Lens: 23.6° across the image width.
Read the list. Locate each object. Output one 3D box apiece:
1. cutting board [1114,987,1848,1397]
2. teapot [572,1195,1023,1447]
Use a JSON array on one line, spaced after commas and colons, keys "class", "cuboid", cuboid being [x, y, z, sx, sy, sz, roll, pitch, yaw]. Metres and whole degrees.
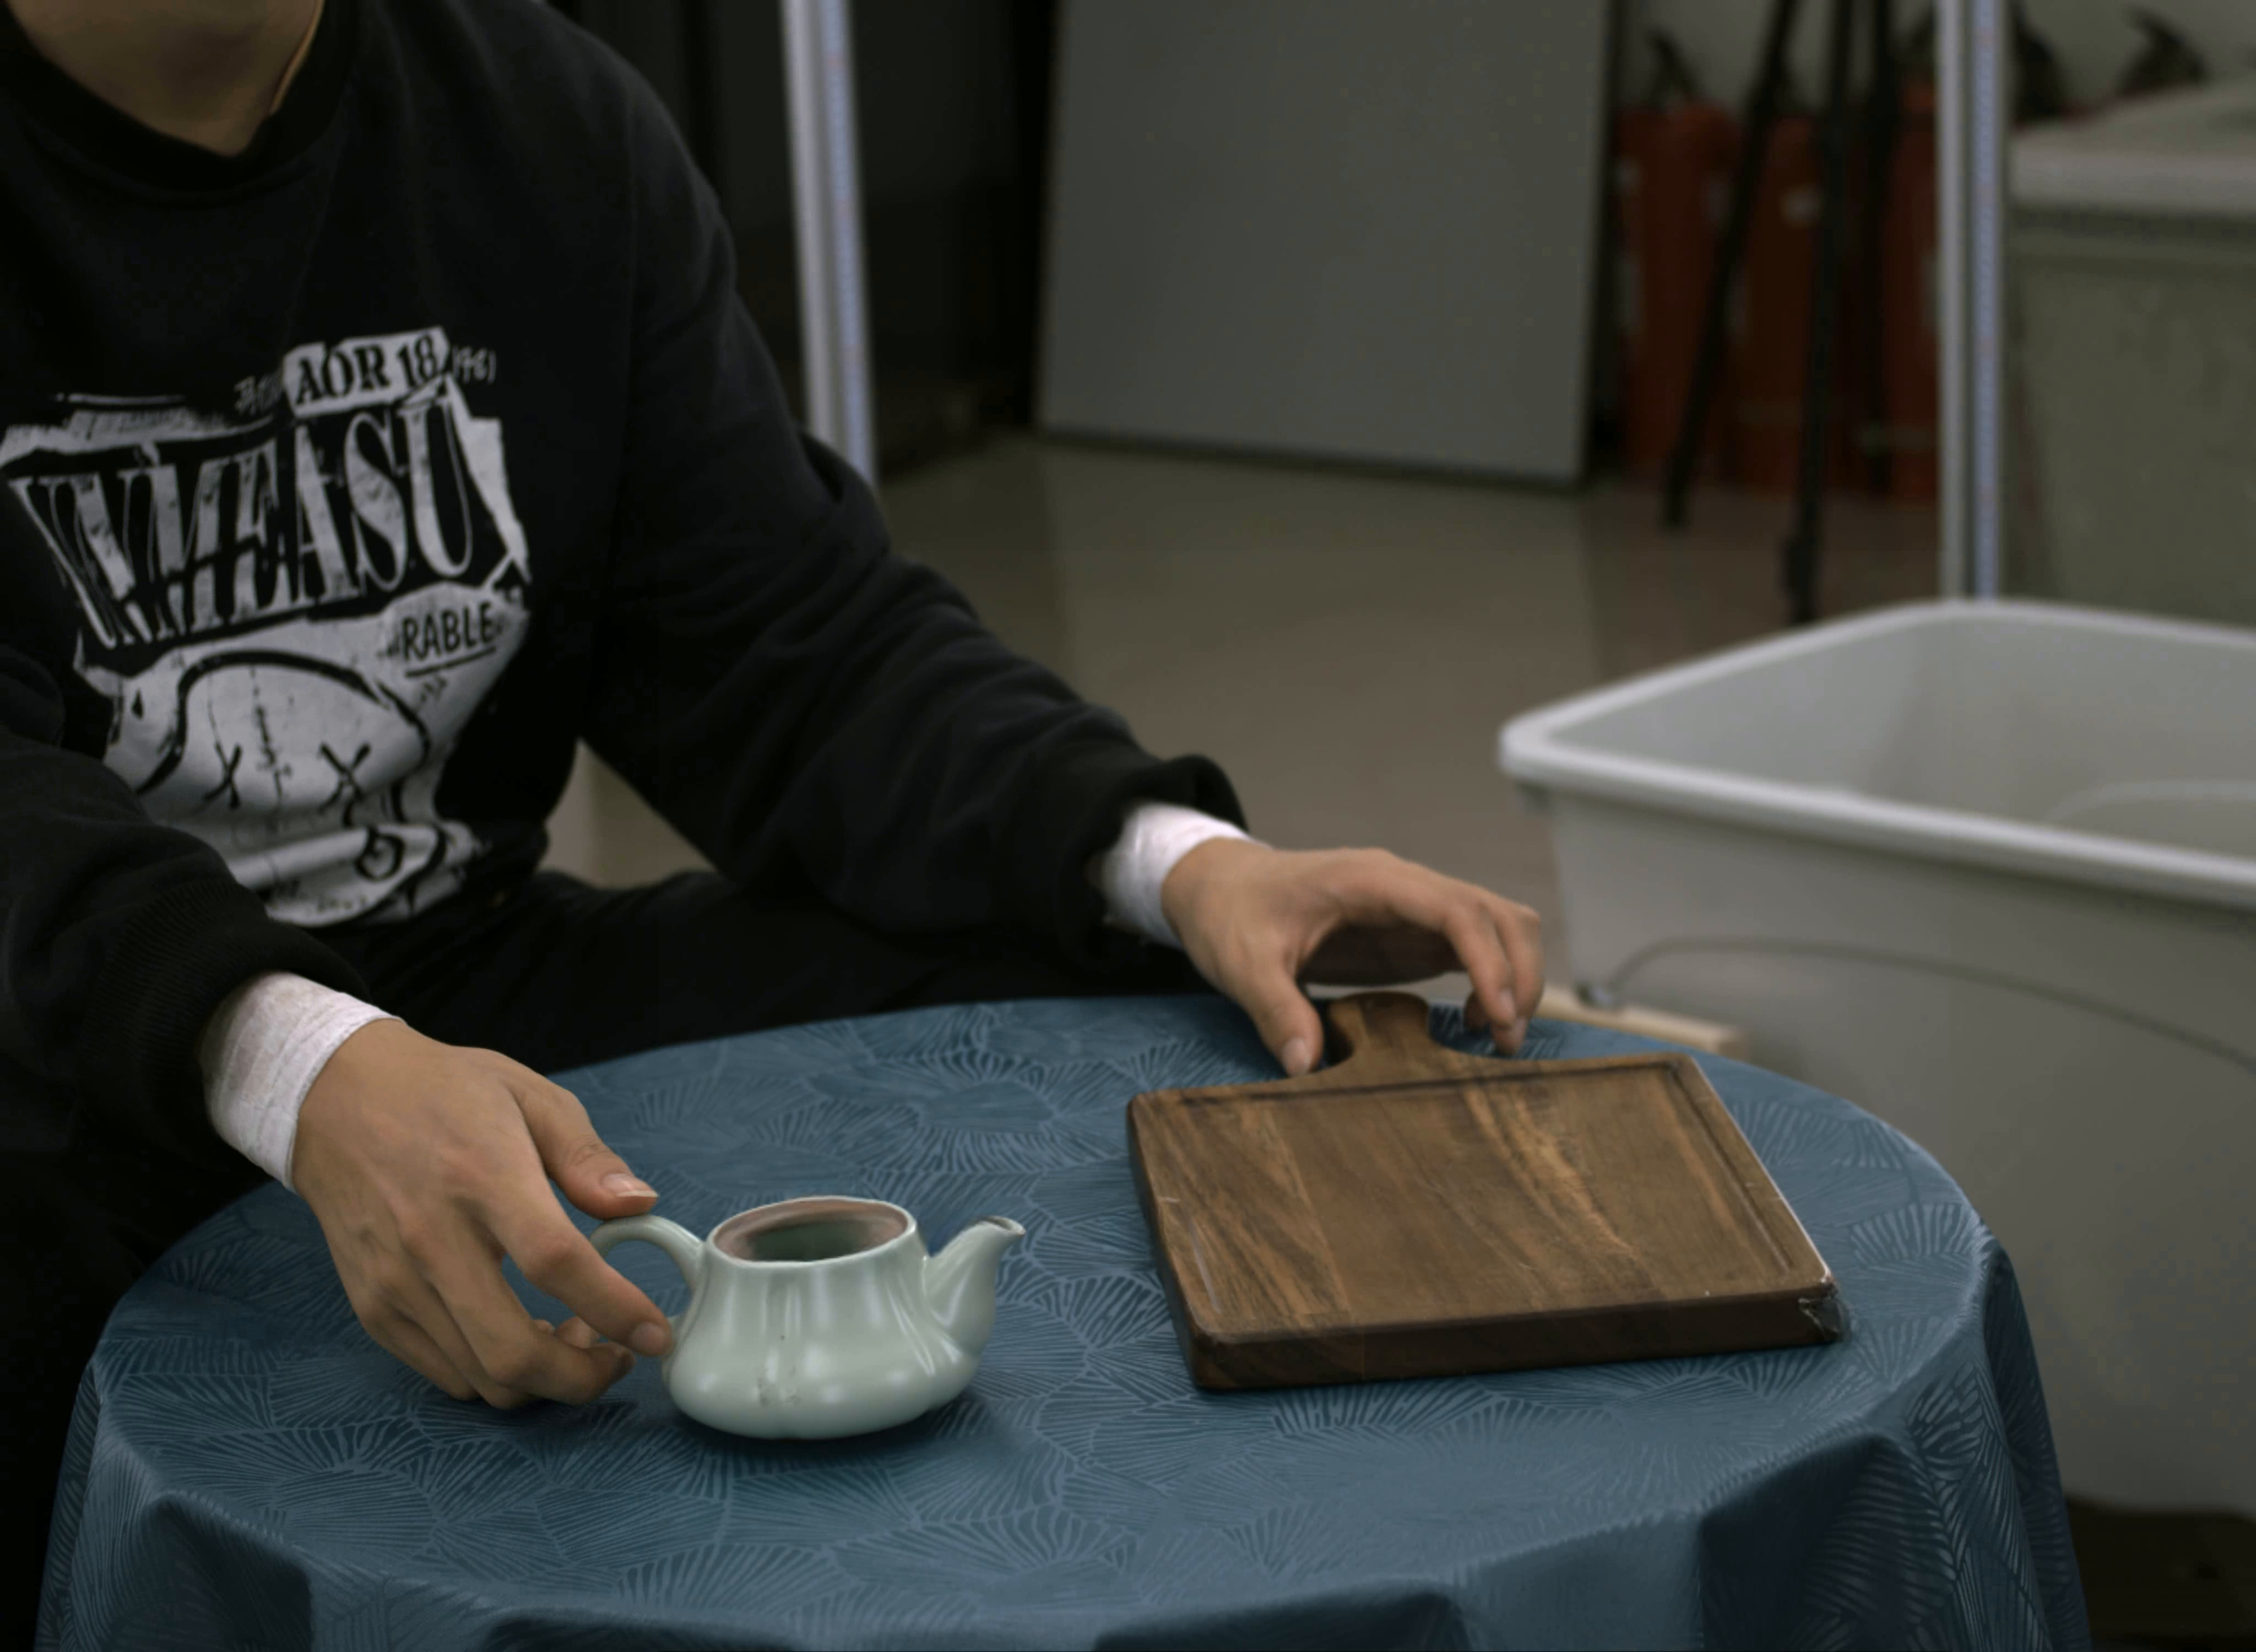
[{"class": "cutting board", "cuboid": [0.100, 0.109, 1.747, 0.198, 0.023, 0.353, -5, 14, -4]}, {"class": "teapot", "cuboid": [-0.096, 0.144, 1.585, 0.136, 0.062, 0.096, -1, 15, 10]}]
